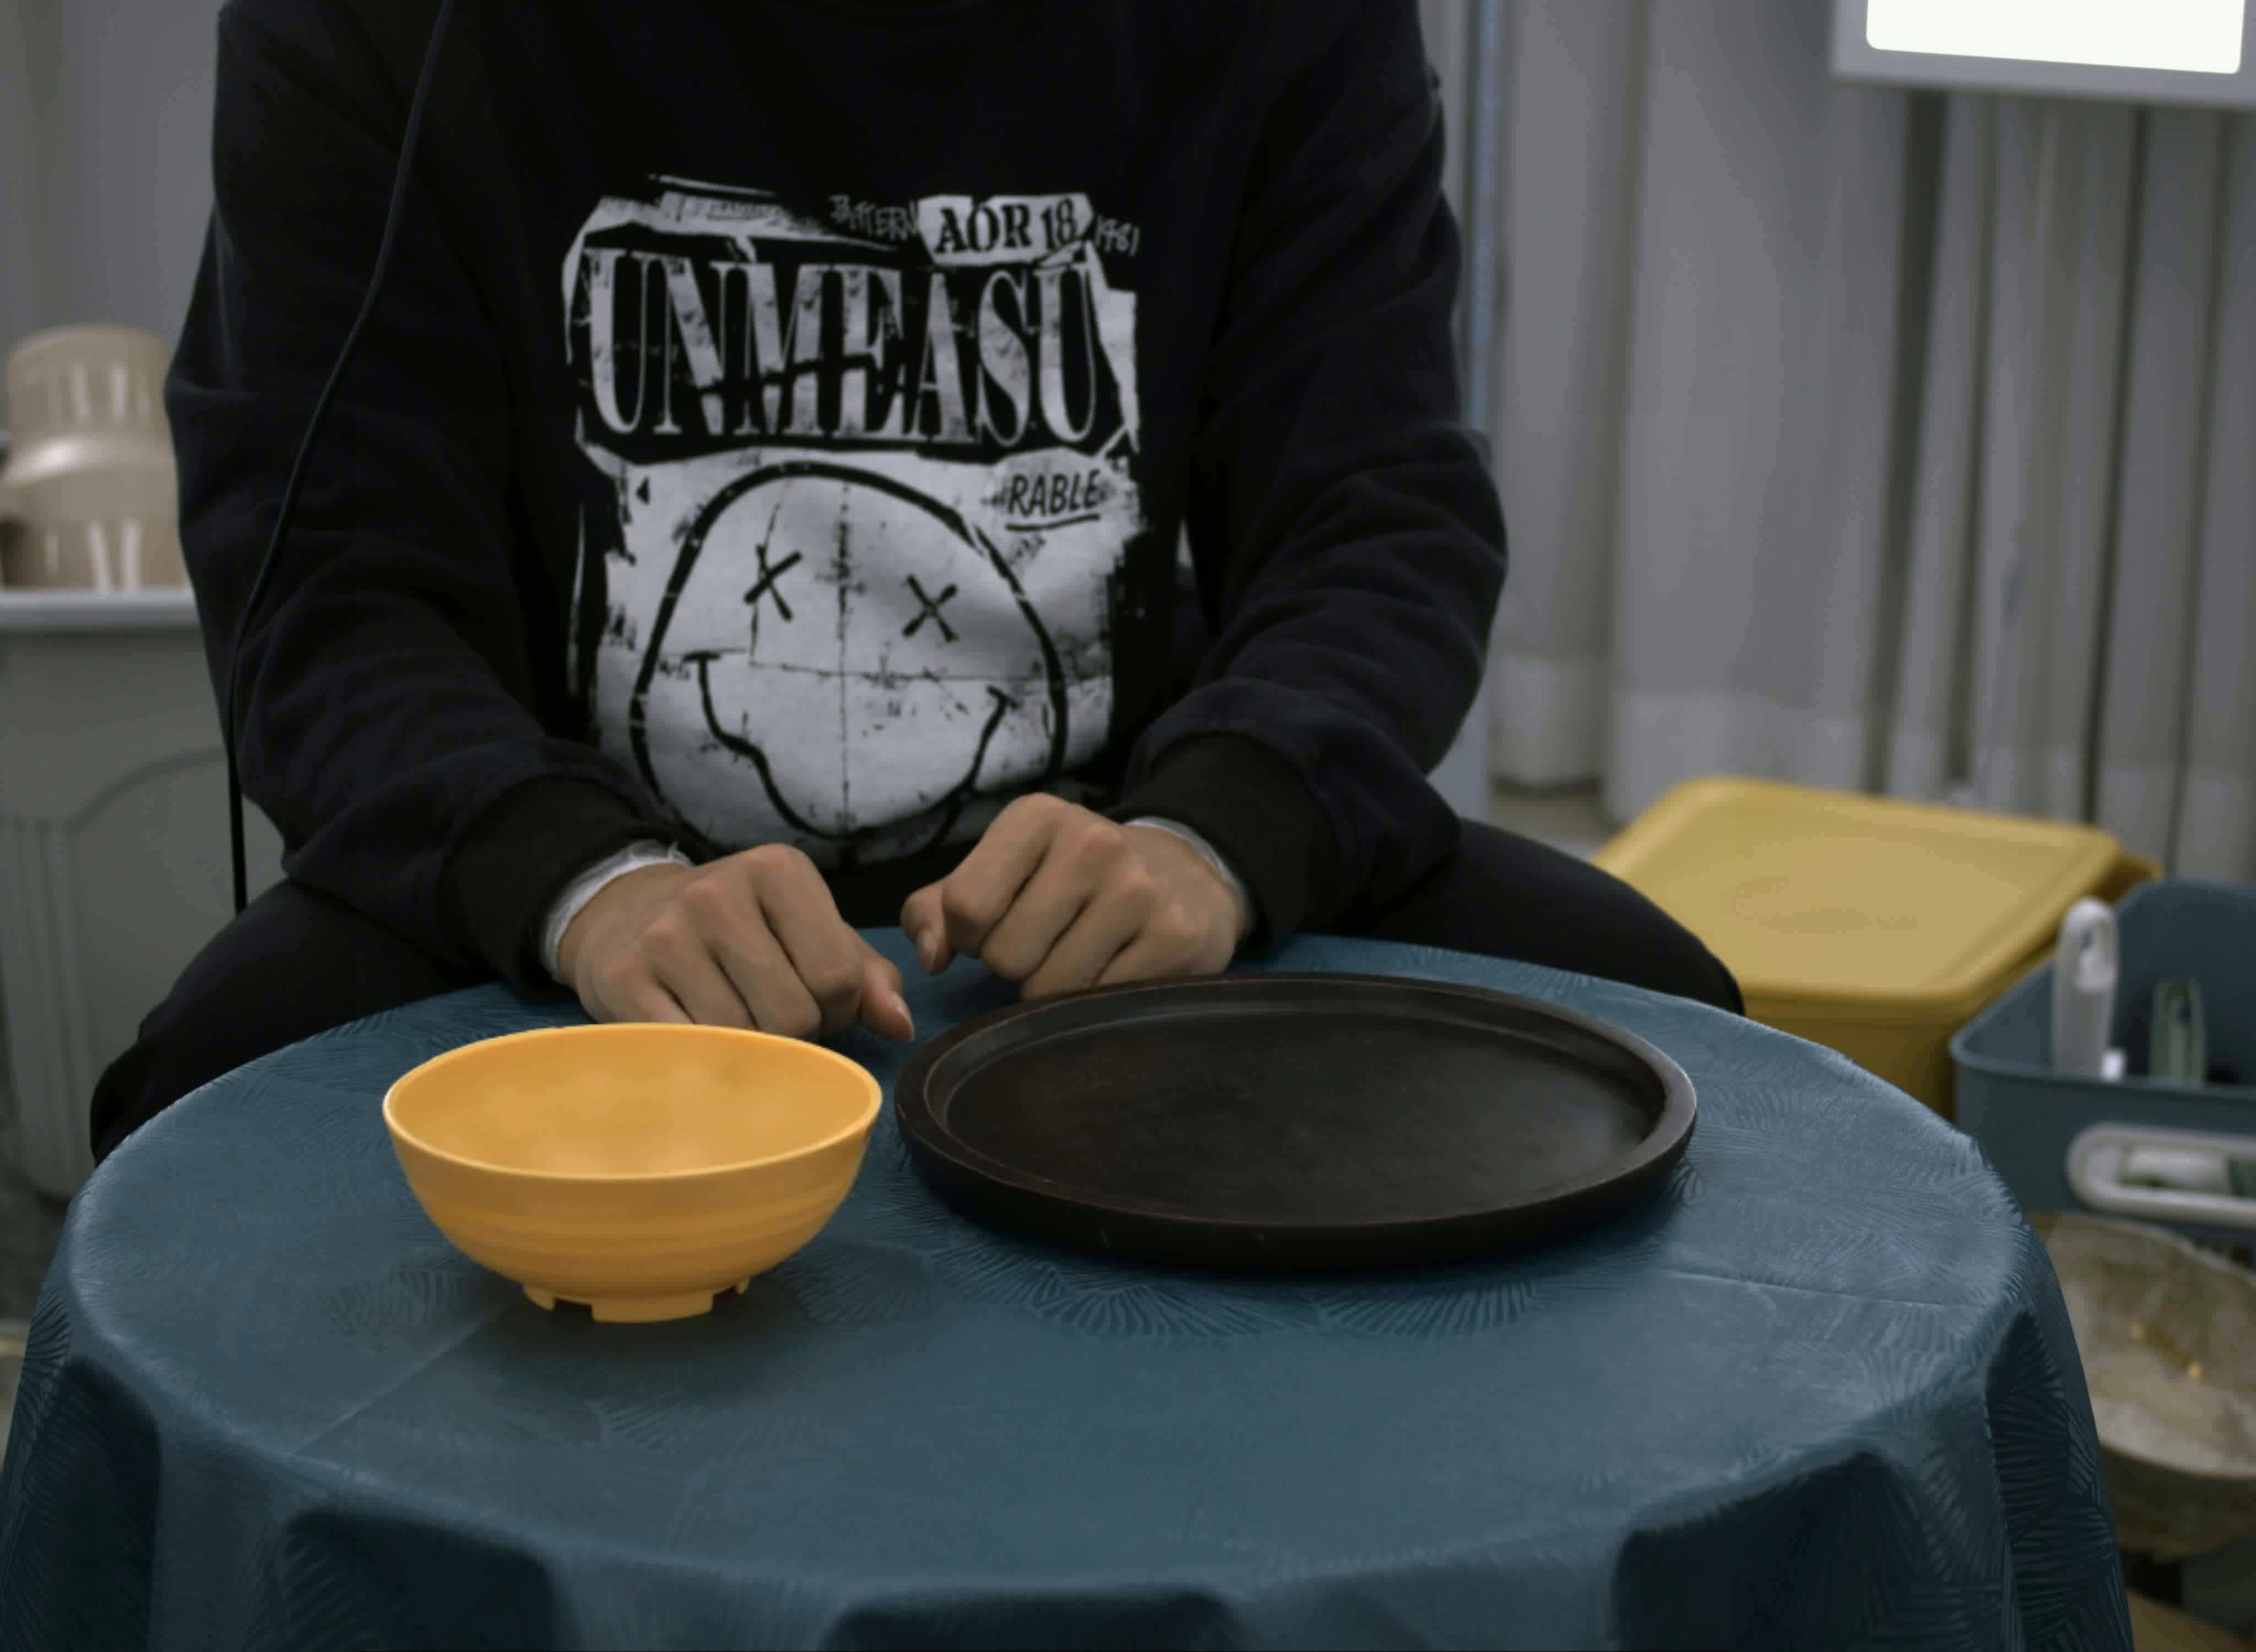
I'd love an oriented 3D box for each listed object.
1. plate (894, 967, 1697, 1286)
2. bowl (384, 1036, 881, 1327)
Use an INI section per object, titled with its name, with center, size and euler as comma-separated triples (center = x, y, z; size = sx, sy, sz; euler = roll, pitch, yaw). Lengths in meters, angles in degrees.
[plate]
center = 0.053, 0.092, 1.659
size = 0.254, 0.029, 0.253
euler = -1, 16, 1
[bowl]
center = -0.144, 0.108, 1.534
size = 0.145, 0.060, 0.144
euler = 1, 14, 0
